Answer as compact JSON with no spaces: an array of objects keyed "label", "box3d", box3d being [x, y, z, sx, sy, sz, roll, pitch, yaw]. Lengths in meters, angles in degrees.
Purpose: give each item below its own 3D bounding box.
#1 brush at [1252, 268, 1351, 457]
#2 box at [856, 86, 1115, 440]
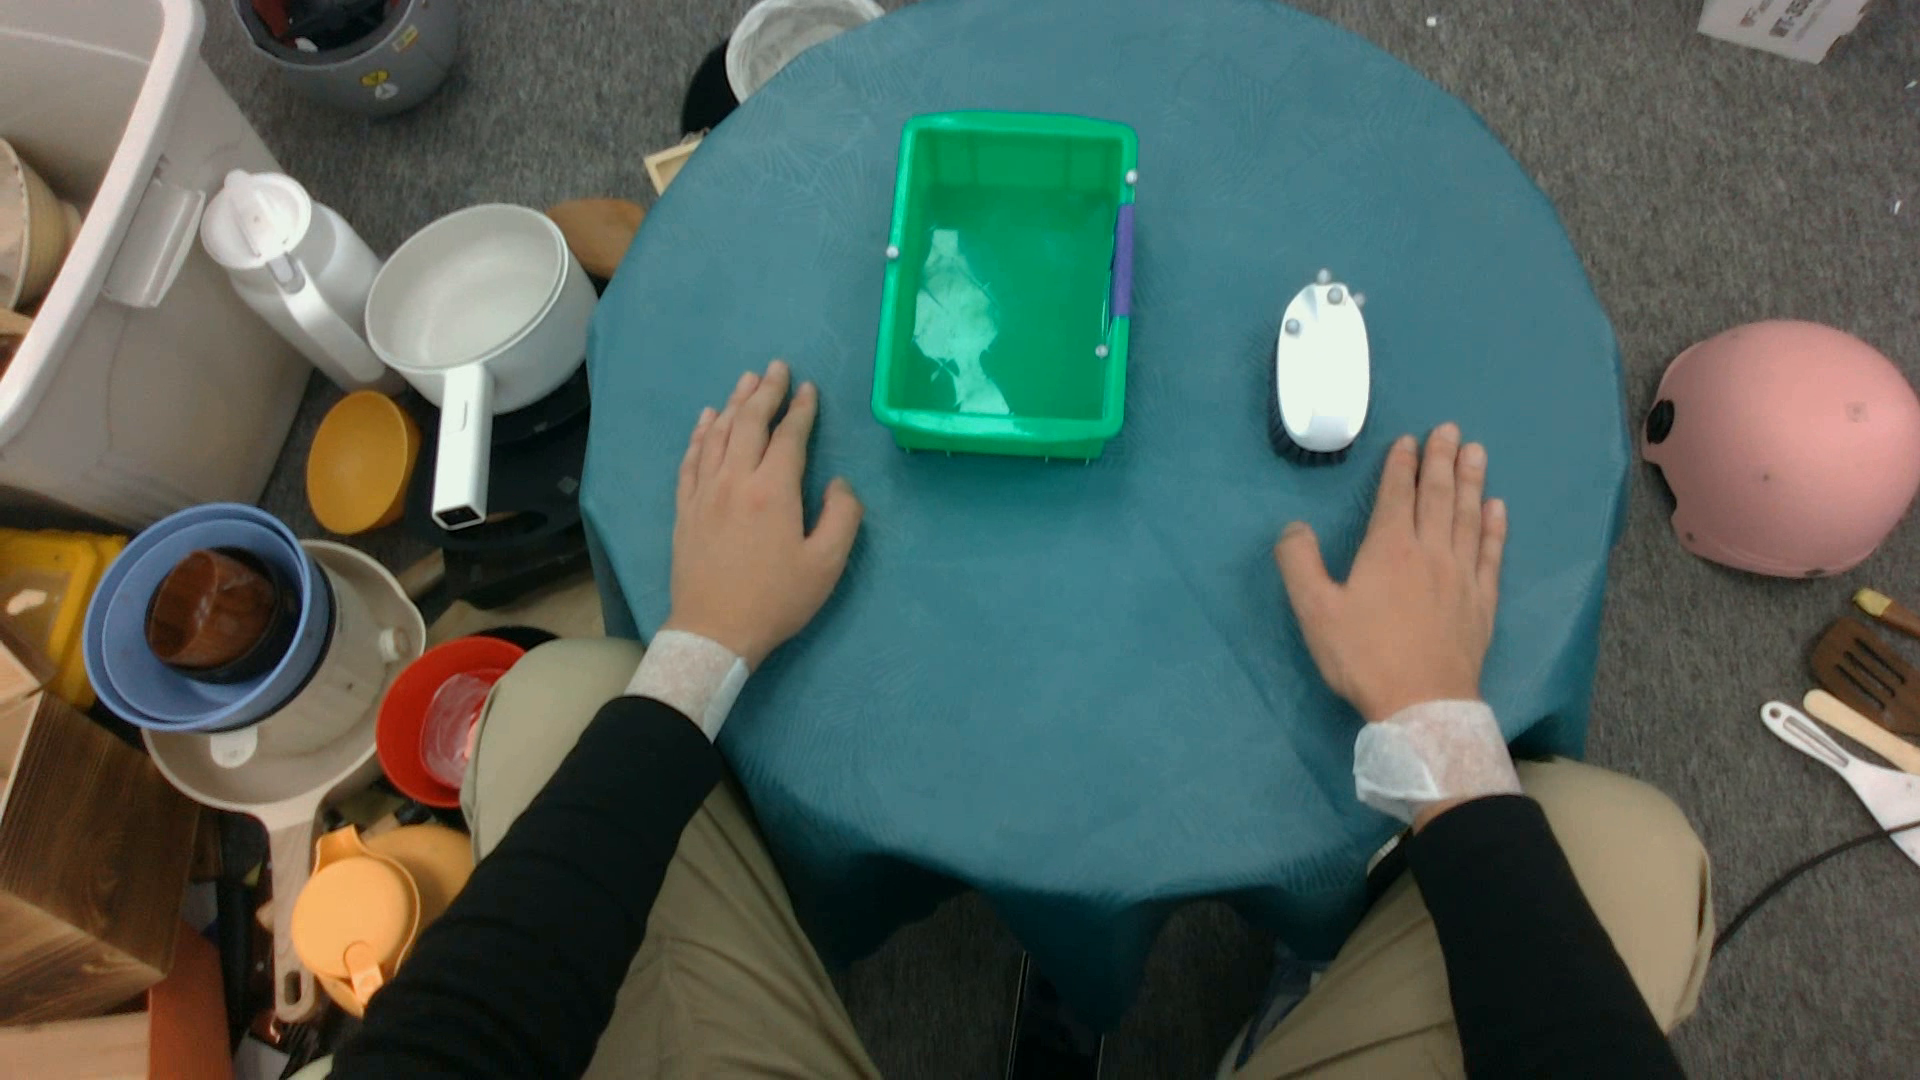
[{"label":"brush","box3d":[0.193,-0.105,0.766,0.050,0.072,0.099,5,72,4]},{"label":"box","box3d":[0.017,-0.155,0.795,0.138,0.065,0.211,3,70,1]}]
